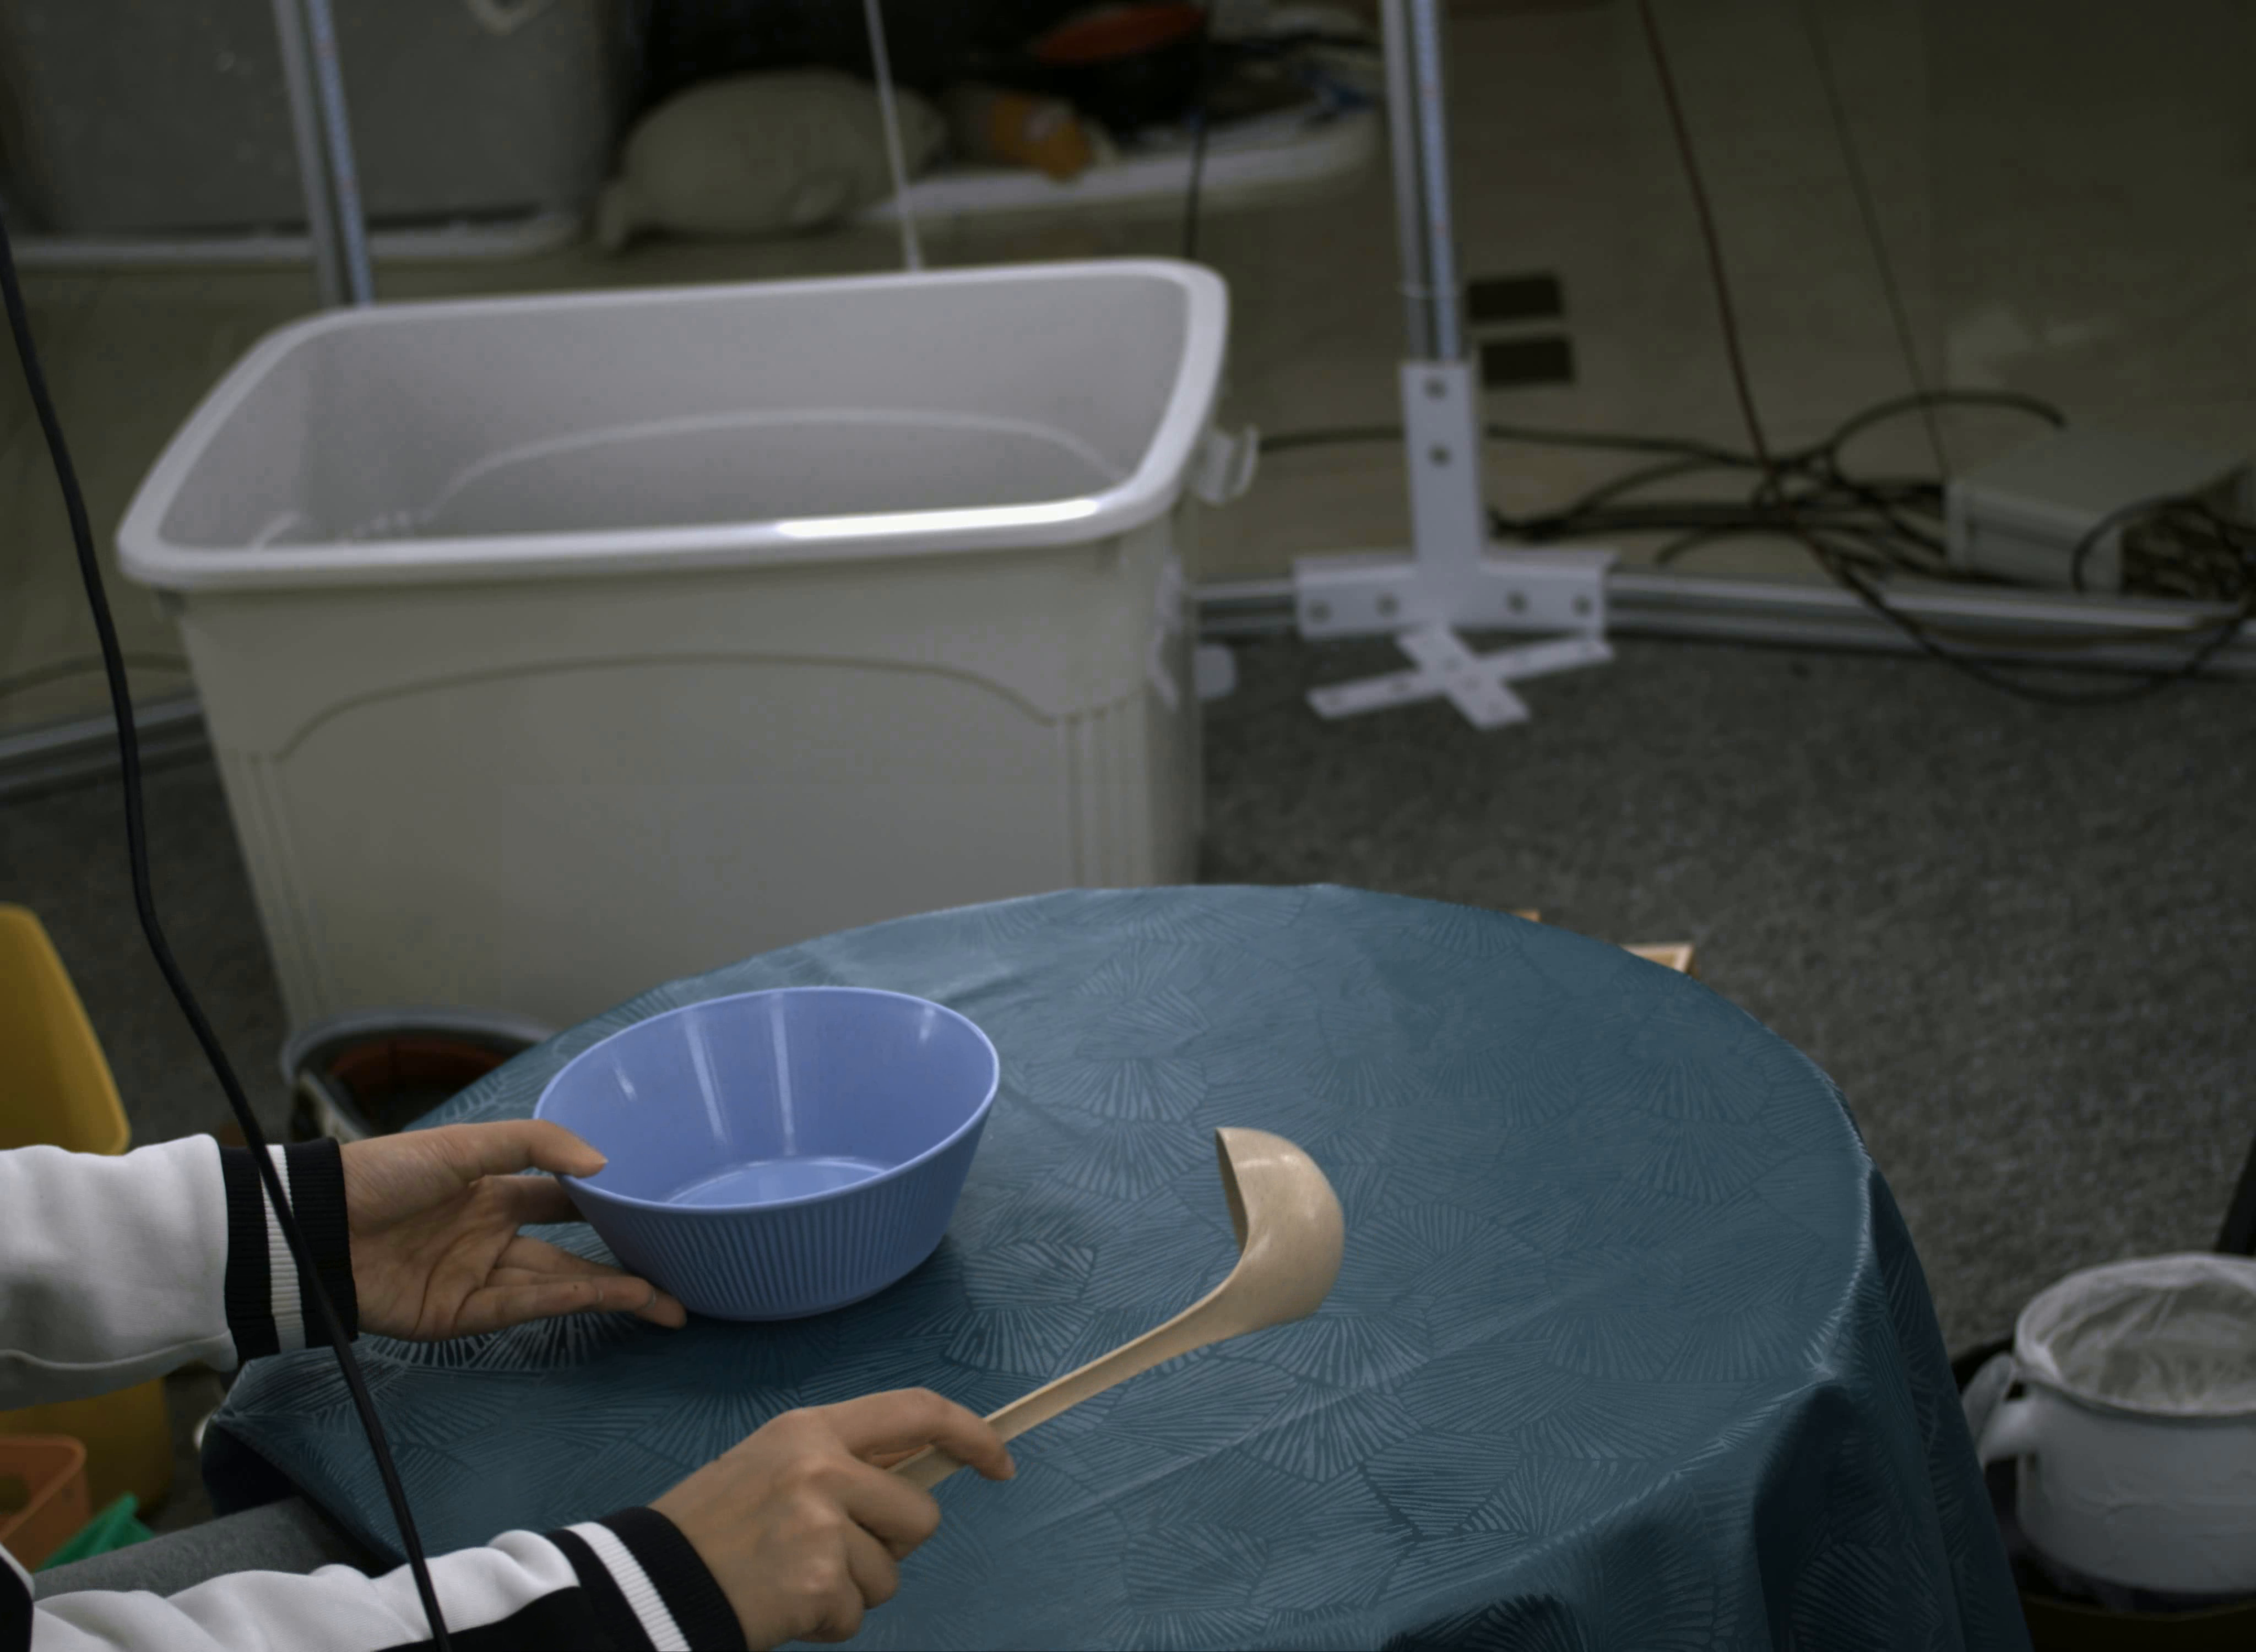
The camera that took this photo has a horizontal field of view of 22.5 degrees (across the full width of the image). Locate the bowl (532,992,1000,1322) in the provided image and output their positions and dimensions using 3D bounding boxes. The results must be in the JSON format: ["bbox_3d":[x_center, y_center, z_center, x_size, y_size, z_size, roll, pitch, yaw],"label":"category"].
[{"bbox_3d":[-0.131,0.129,2.117,0.176,0.071,0.173,-6,24,3],"label":"bowl"}]

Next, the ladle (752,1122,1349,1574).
[{"bbox_3d":[-0.037,0.175,1.883,0.252,0.073,0.072,-26,31,-26],"label":"ladle"}]
